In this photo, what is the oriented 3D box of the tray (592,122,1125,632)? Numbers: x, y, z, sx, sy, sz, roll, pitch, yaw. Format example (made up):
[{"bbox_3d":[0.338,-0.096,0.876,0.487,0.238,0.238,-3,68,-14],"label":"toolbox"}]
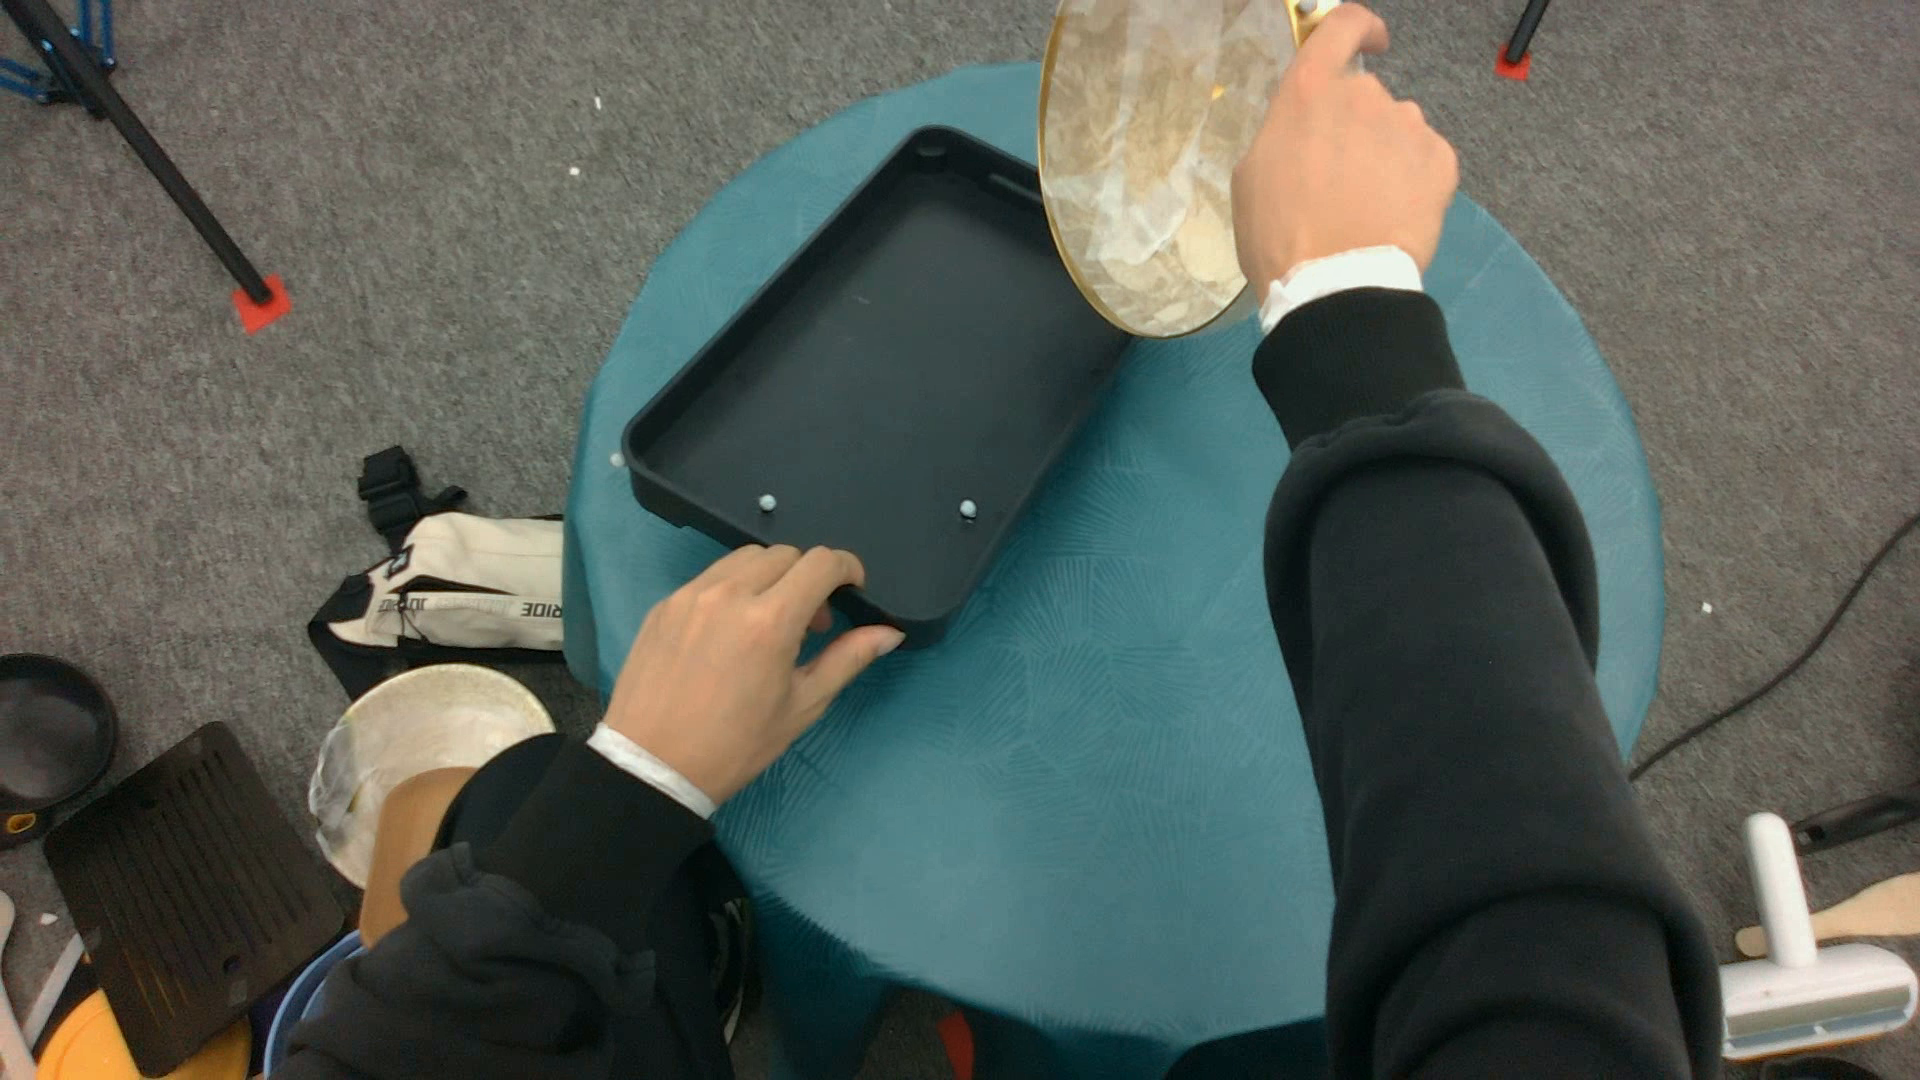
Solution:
[{"bbox_3d":[-0.030,-0.103,0.737,0.184,0.037,0.319,29,53,11],"label":"tray"}]

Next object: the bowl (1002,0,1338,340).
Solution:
[{"bbox_3d":[0.118,-0.210,0.700,0.095,0.213,0.215,-11,64,-32],"label":"bowl"}]
